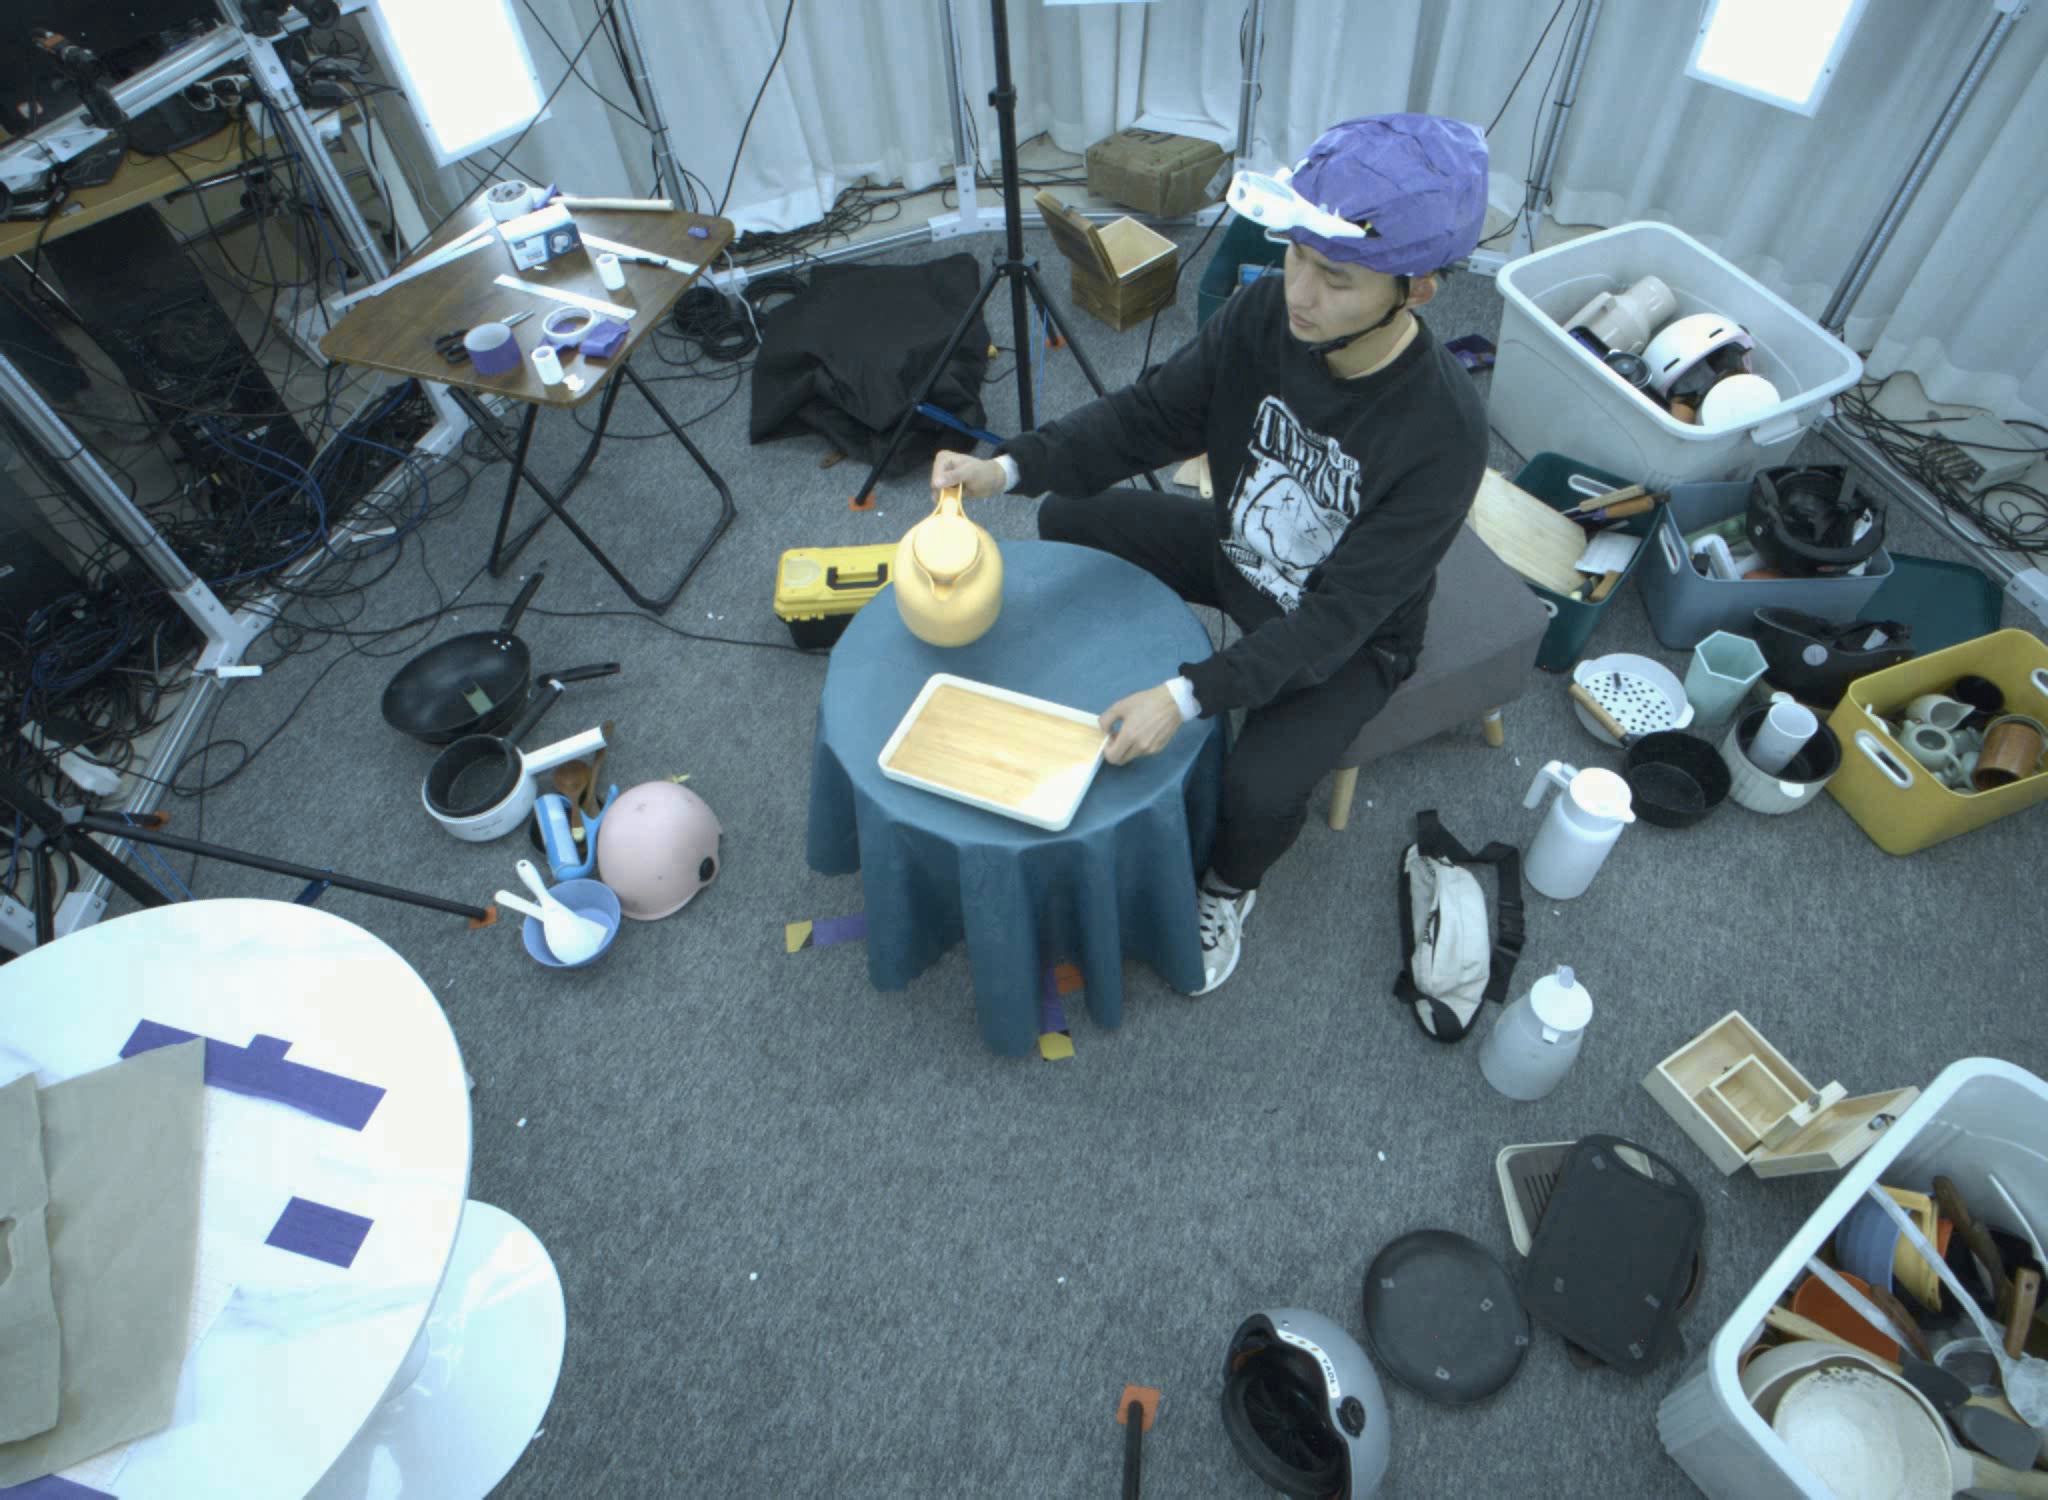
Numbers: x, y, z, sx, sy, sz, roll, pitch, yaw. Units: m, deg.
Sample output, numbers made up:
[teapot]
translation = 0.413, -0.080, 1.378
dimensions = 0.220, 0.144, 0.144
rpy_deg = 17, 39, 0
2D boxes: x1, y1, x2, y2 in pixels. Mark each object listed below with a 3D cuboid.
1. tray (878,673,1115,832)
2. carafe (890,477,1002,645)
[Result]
[tray]
translation = -0.040, -0.002, 1.754
dimensions = 0.296, 0.028, 0.192
rpy_deg = 17, 58, 19
[carafe]
translation = -0.110, -0.275, 1.774
dimensions = 0.164, 0.260, 0.201
rpy_deg = 7, 79, -4
